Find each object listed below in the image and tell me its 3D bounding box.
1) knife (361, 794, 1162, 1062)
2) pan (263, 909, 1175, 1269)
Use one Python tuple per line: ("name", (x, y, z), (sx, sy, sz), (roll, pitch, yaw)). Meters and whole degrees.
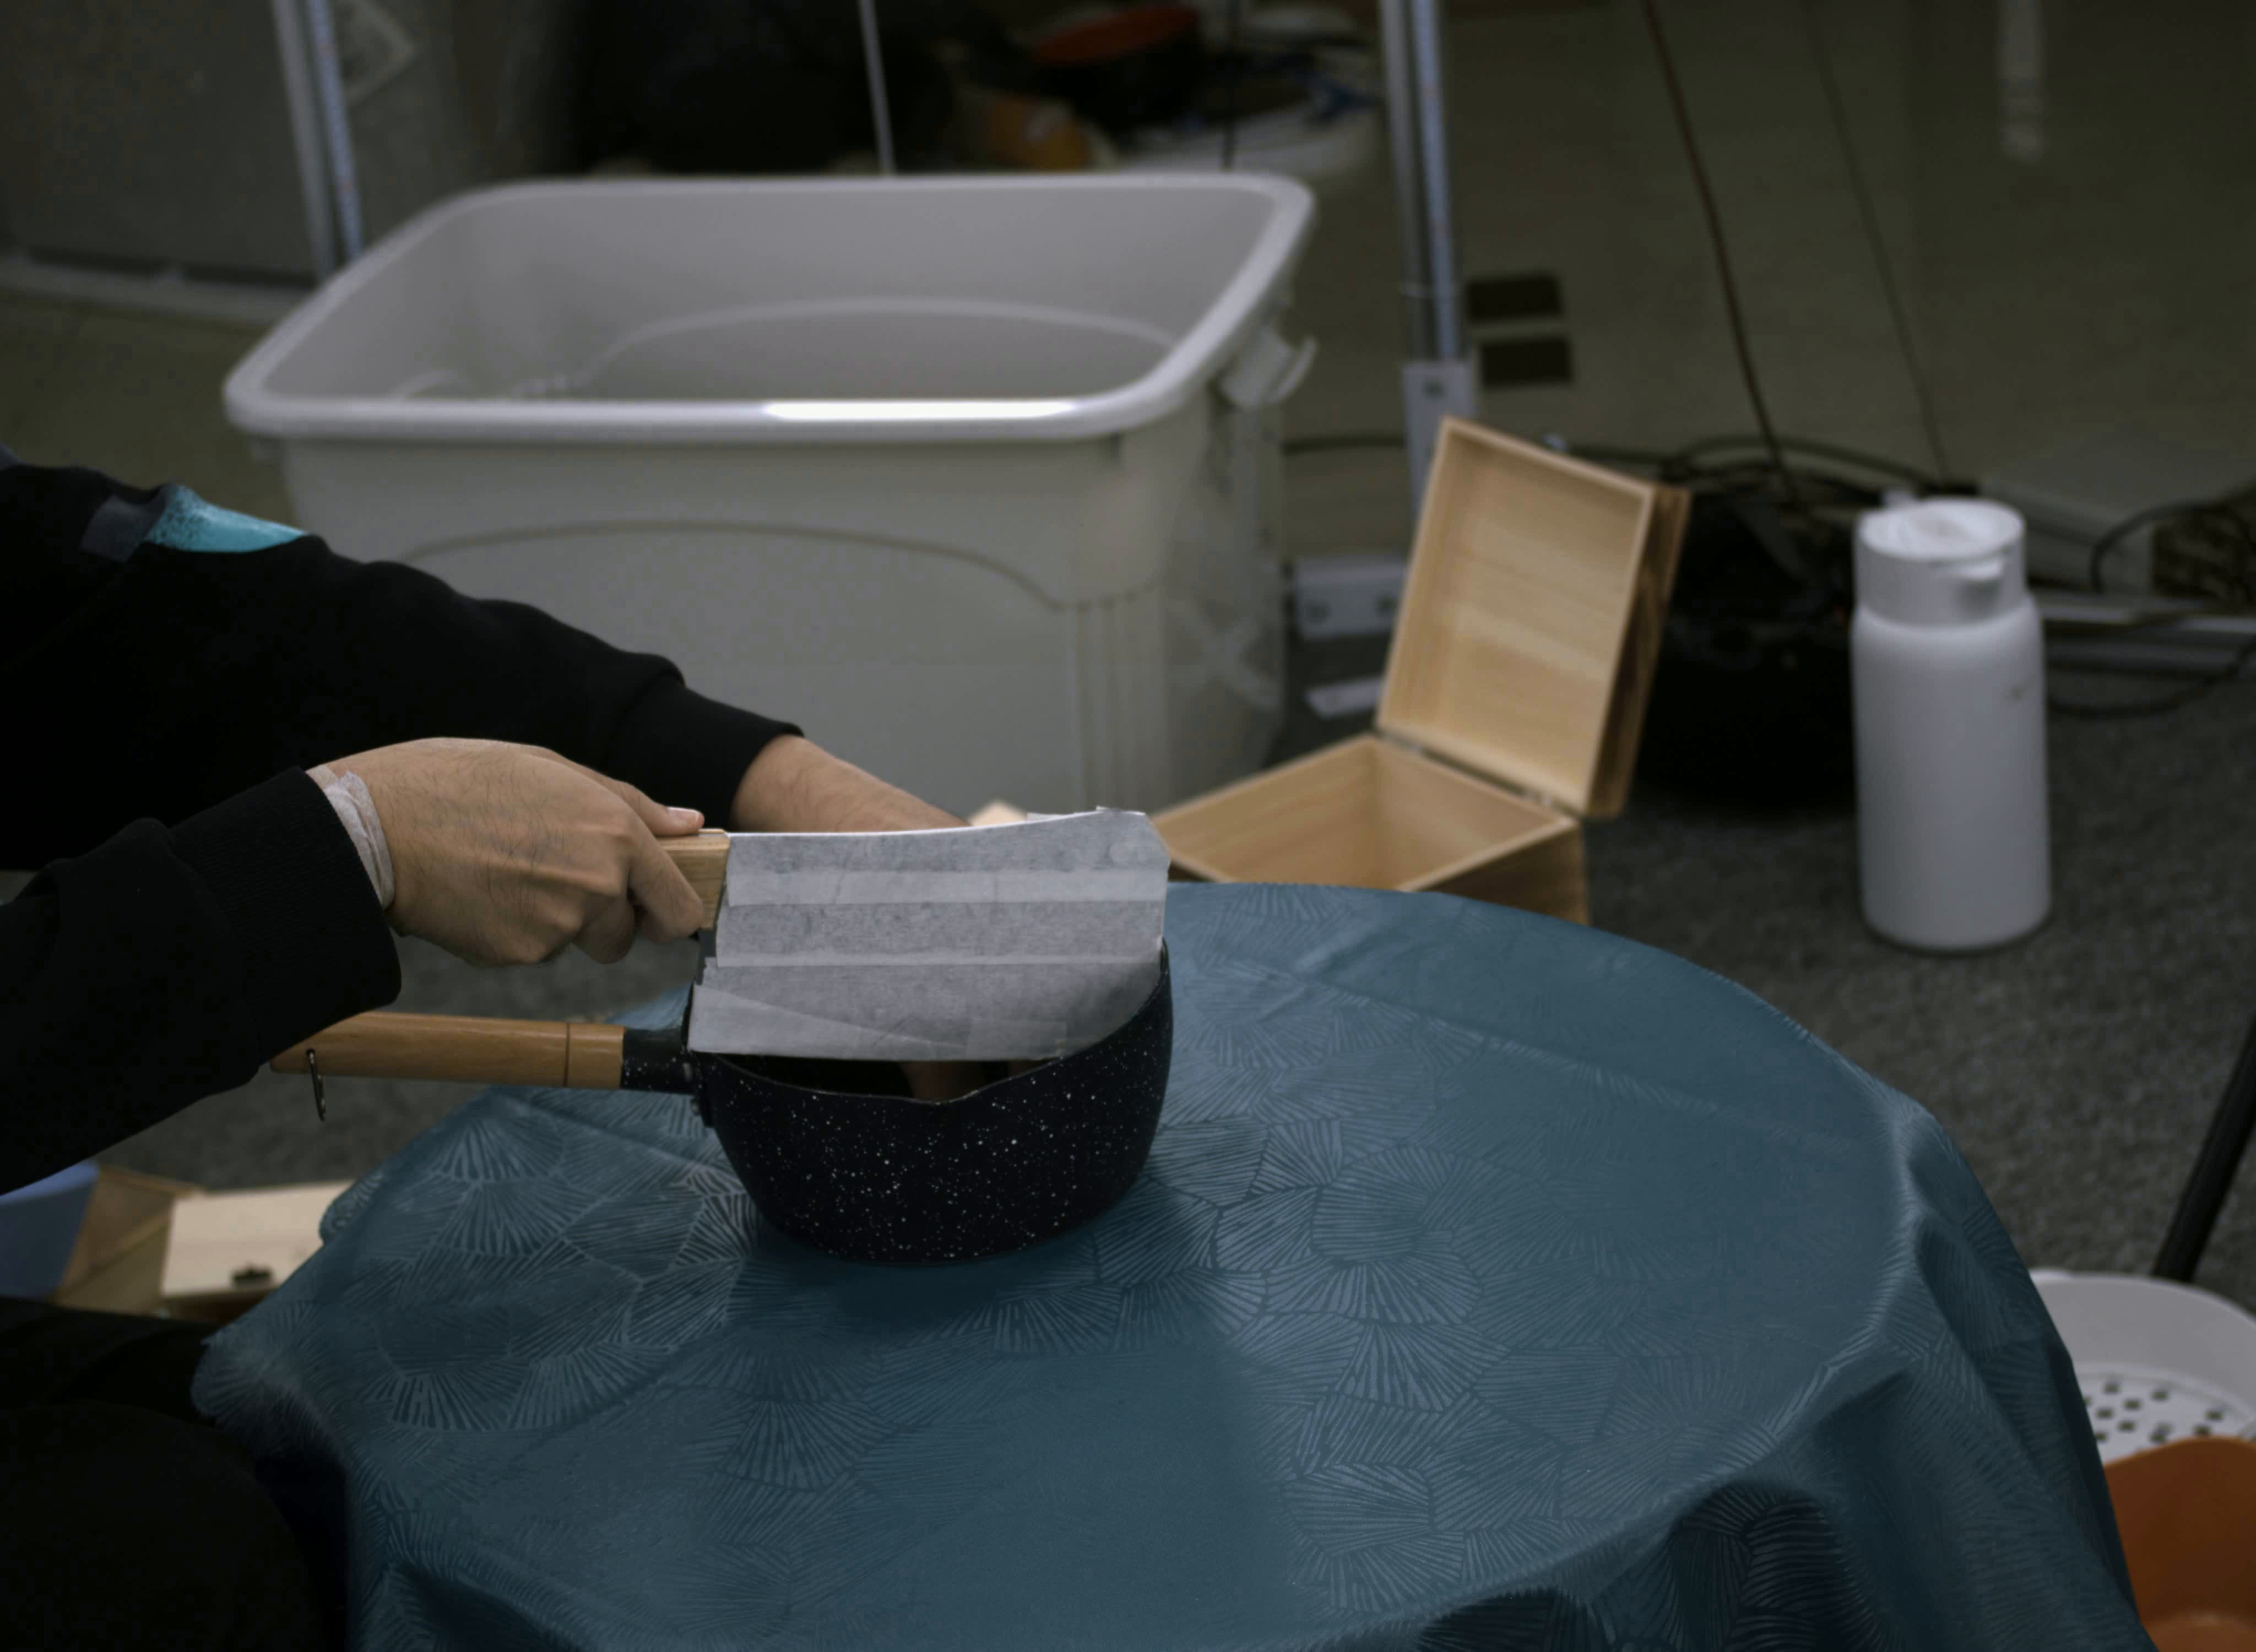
("knife", (-0.128, 0.034, 2.088), (0.315, 0.115, 0.021), (4, 18, -21))
("pan", (-0.151, 0.096, 2.144), (0.342, 0.110, 0.204), (-8, 26, -5))
